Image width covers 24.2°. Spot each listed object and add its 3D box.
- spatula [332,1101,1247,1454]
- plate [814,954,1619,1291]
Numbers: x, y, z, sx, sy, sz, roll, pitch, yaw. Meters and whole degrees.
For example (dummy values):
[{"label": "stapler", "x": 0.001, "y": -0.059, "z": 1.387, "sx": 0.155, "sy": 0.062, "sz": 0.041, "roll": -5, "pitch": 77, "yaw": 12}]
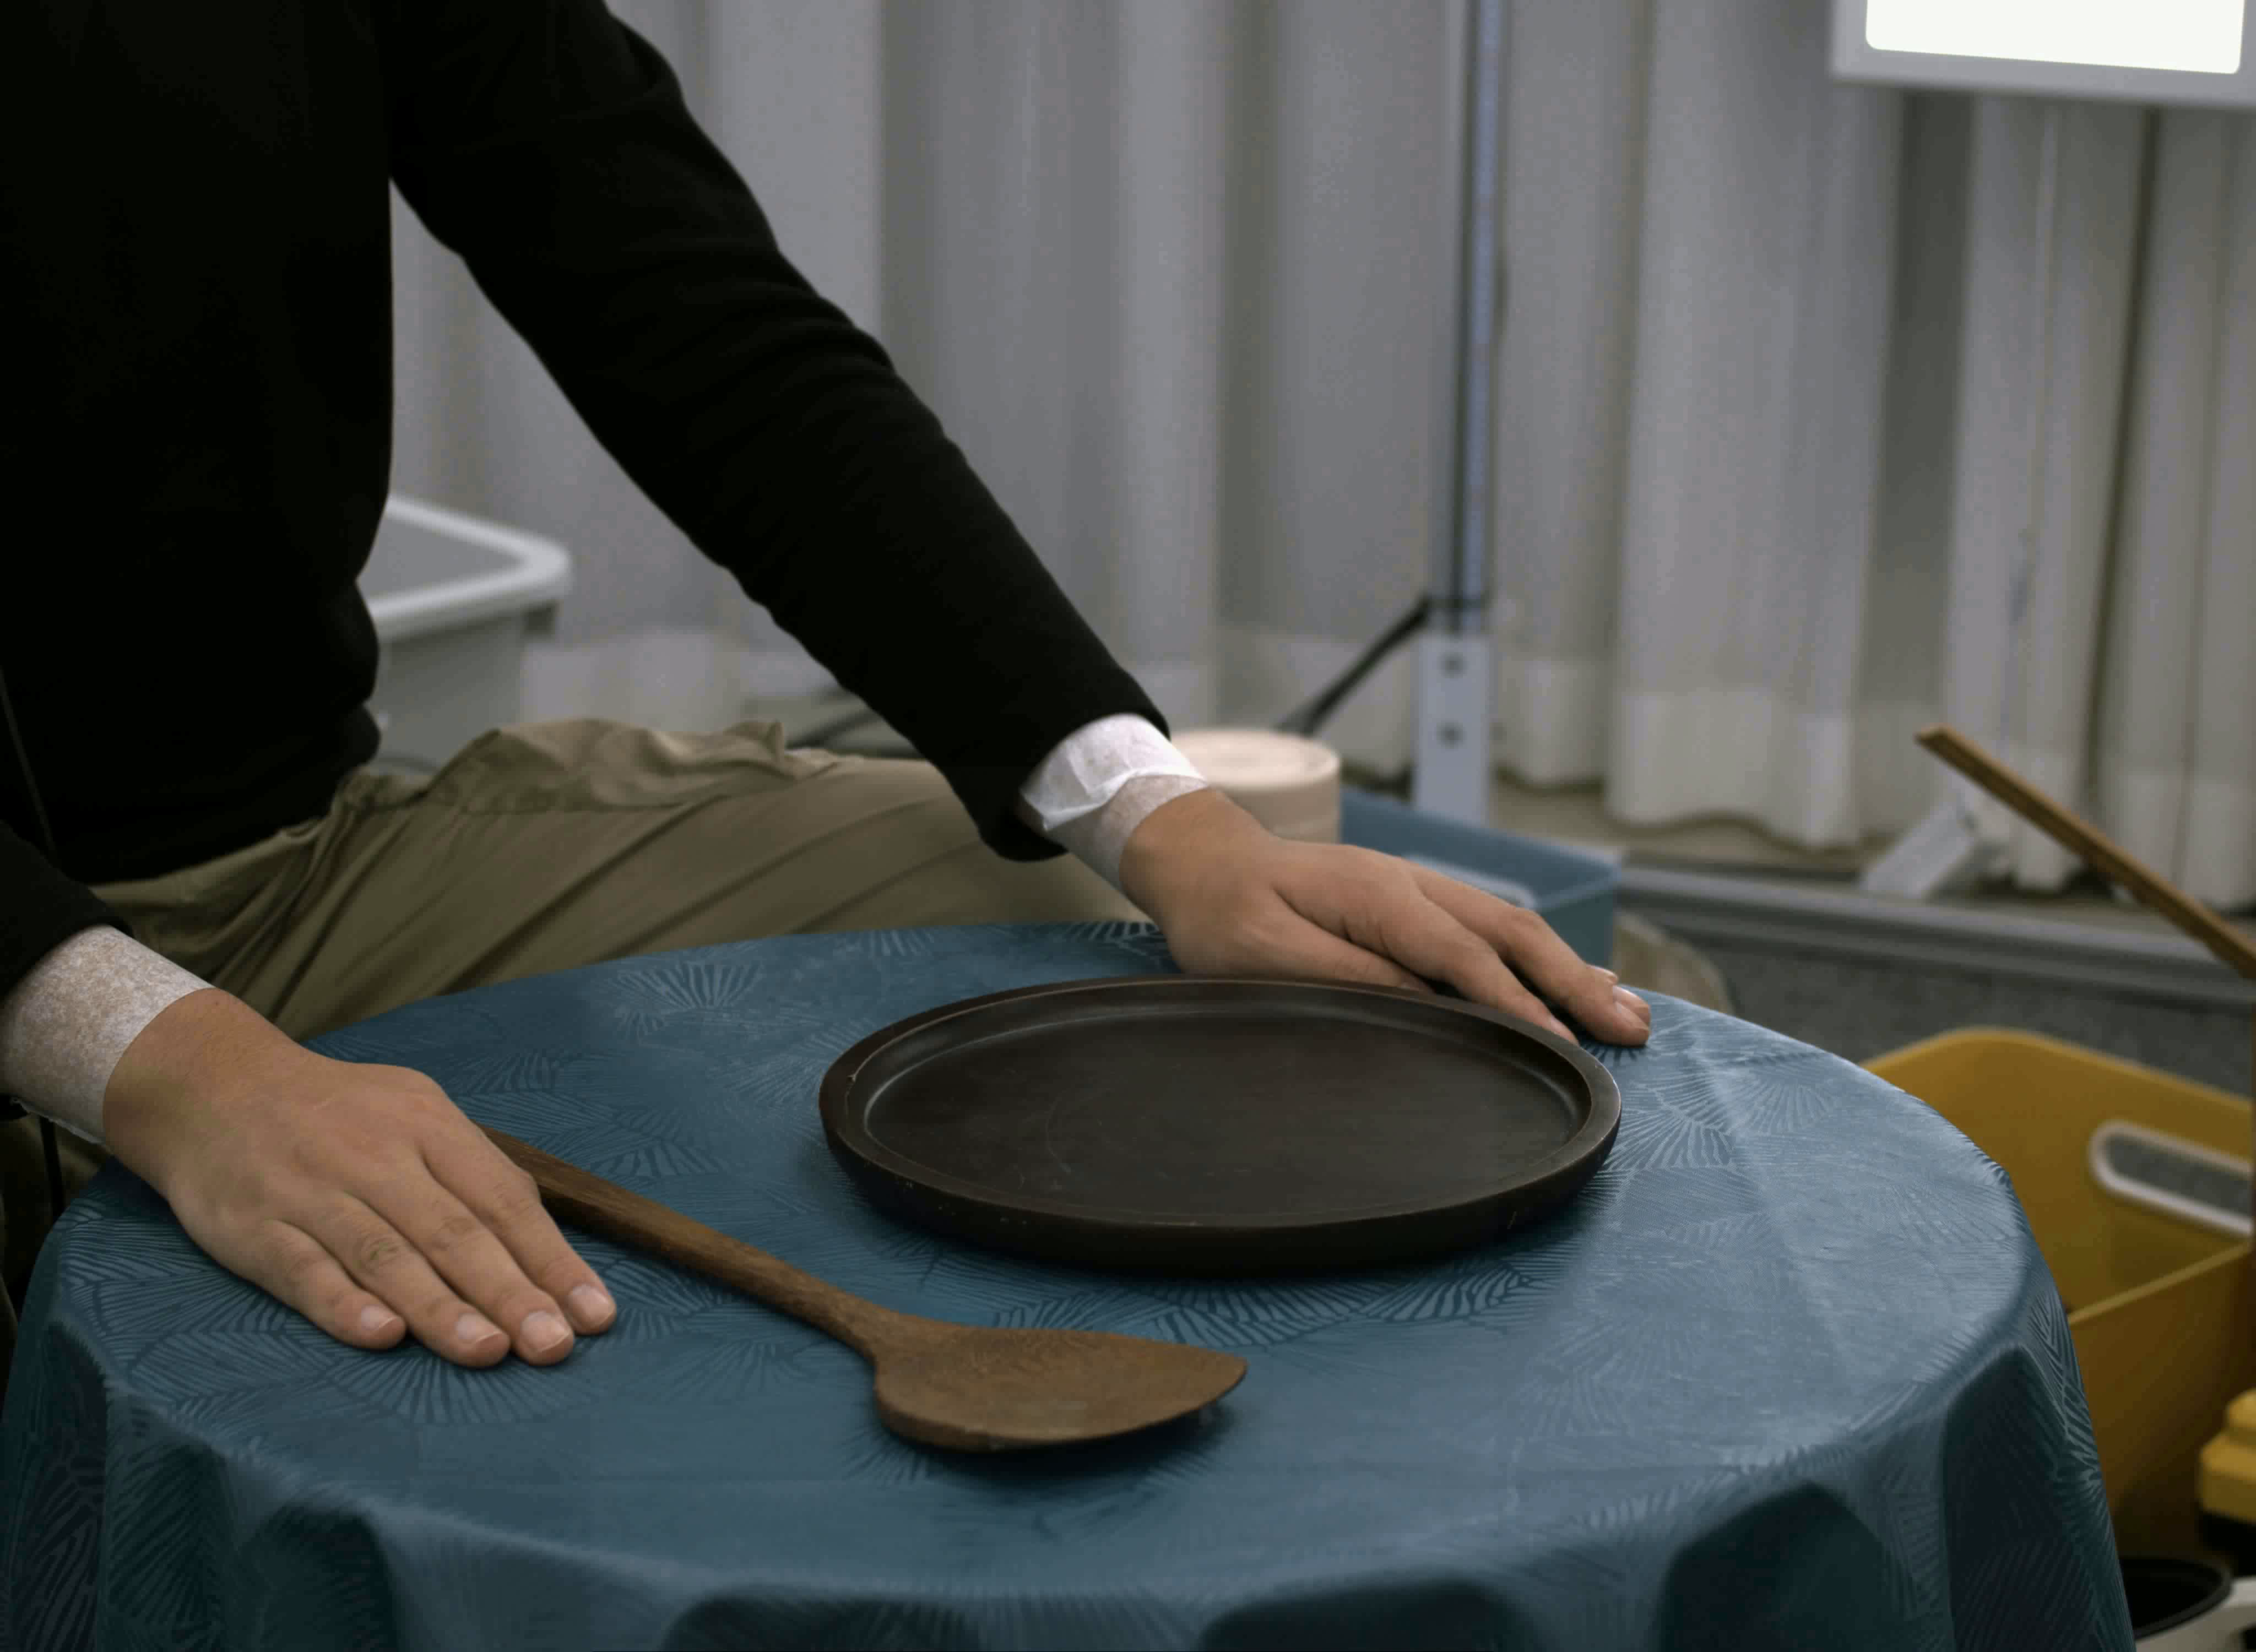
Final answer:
[{"label": "spatula", "x": -0.120, "y": 0.126, "z": 1.540, "sx": 0.096, "sy": 0.016, "sz": 0.381, "roll": -13, "pitch": 20, "yaw": -41}, {"label": "plate", "x": 0.028, "y": 0.093, "z": 1.651, "sx": 0.254, "sy": 0.029, "sz": 0.253, "roll": 0, "pitch": 17, "yaw": 0}]
